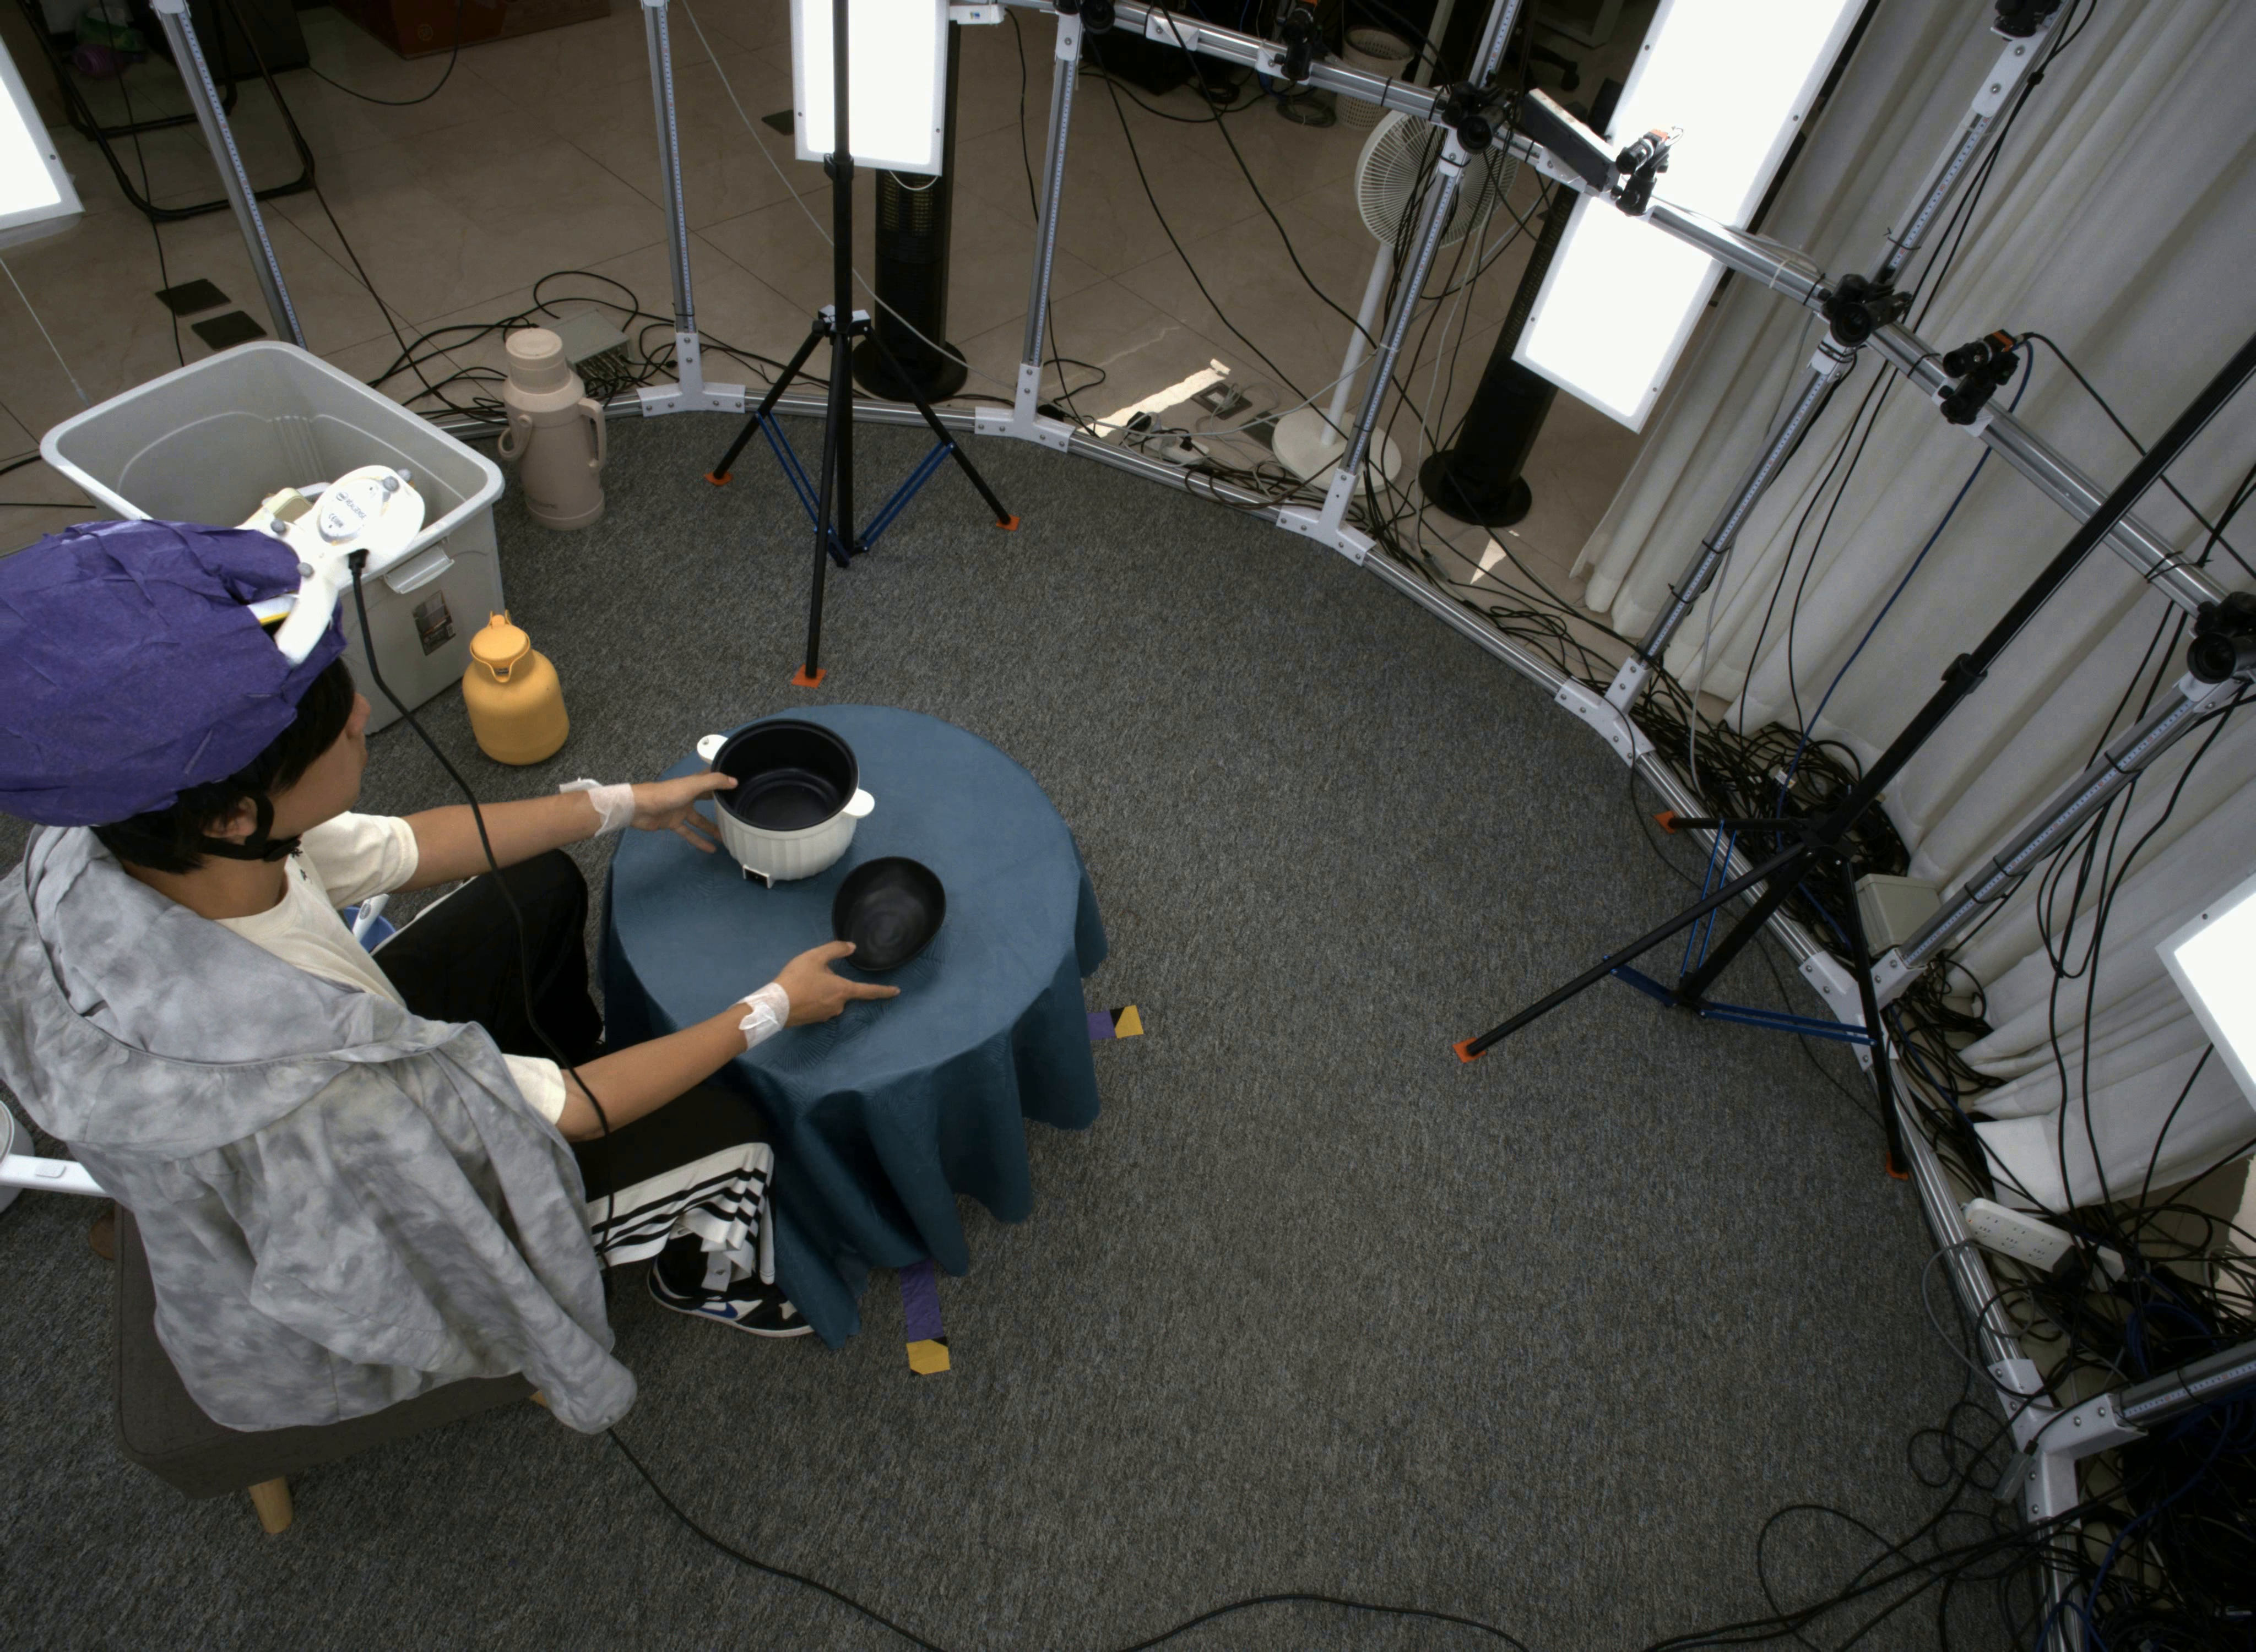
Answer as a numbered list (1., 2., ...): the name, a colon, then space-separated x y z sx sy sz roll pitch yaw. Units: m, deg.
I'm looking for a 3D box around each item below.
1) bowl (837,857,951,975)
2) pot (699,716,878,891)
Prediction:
1. bowl: -0.292 0.120 1.628 0.136 0.068 0.168 15 53 0
2. pot: -0.429 -0.031 1.659 0.238 0.145 0.189 21 55 2
